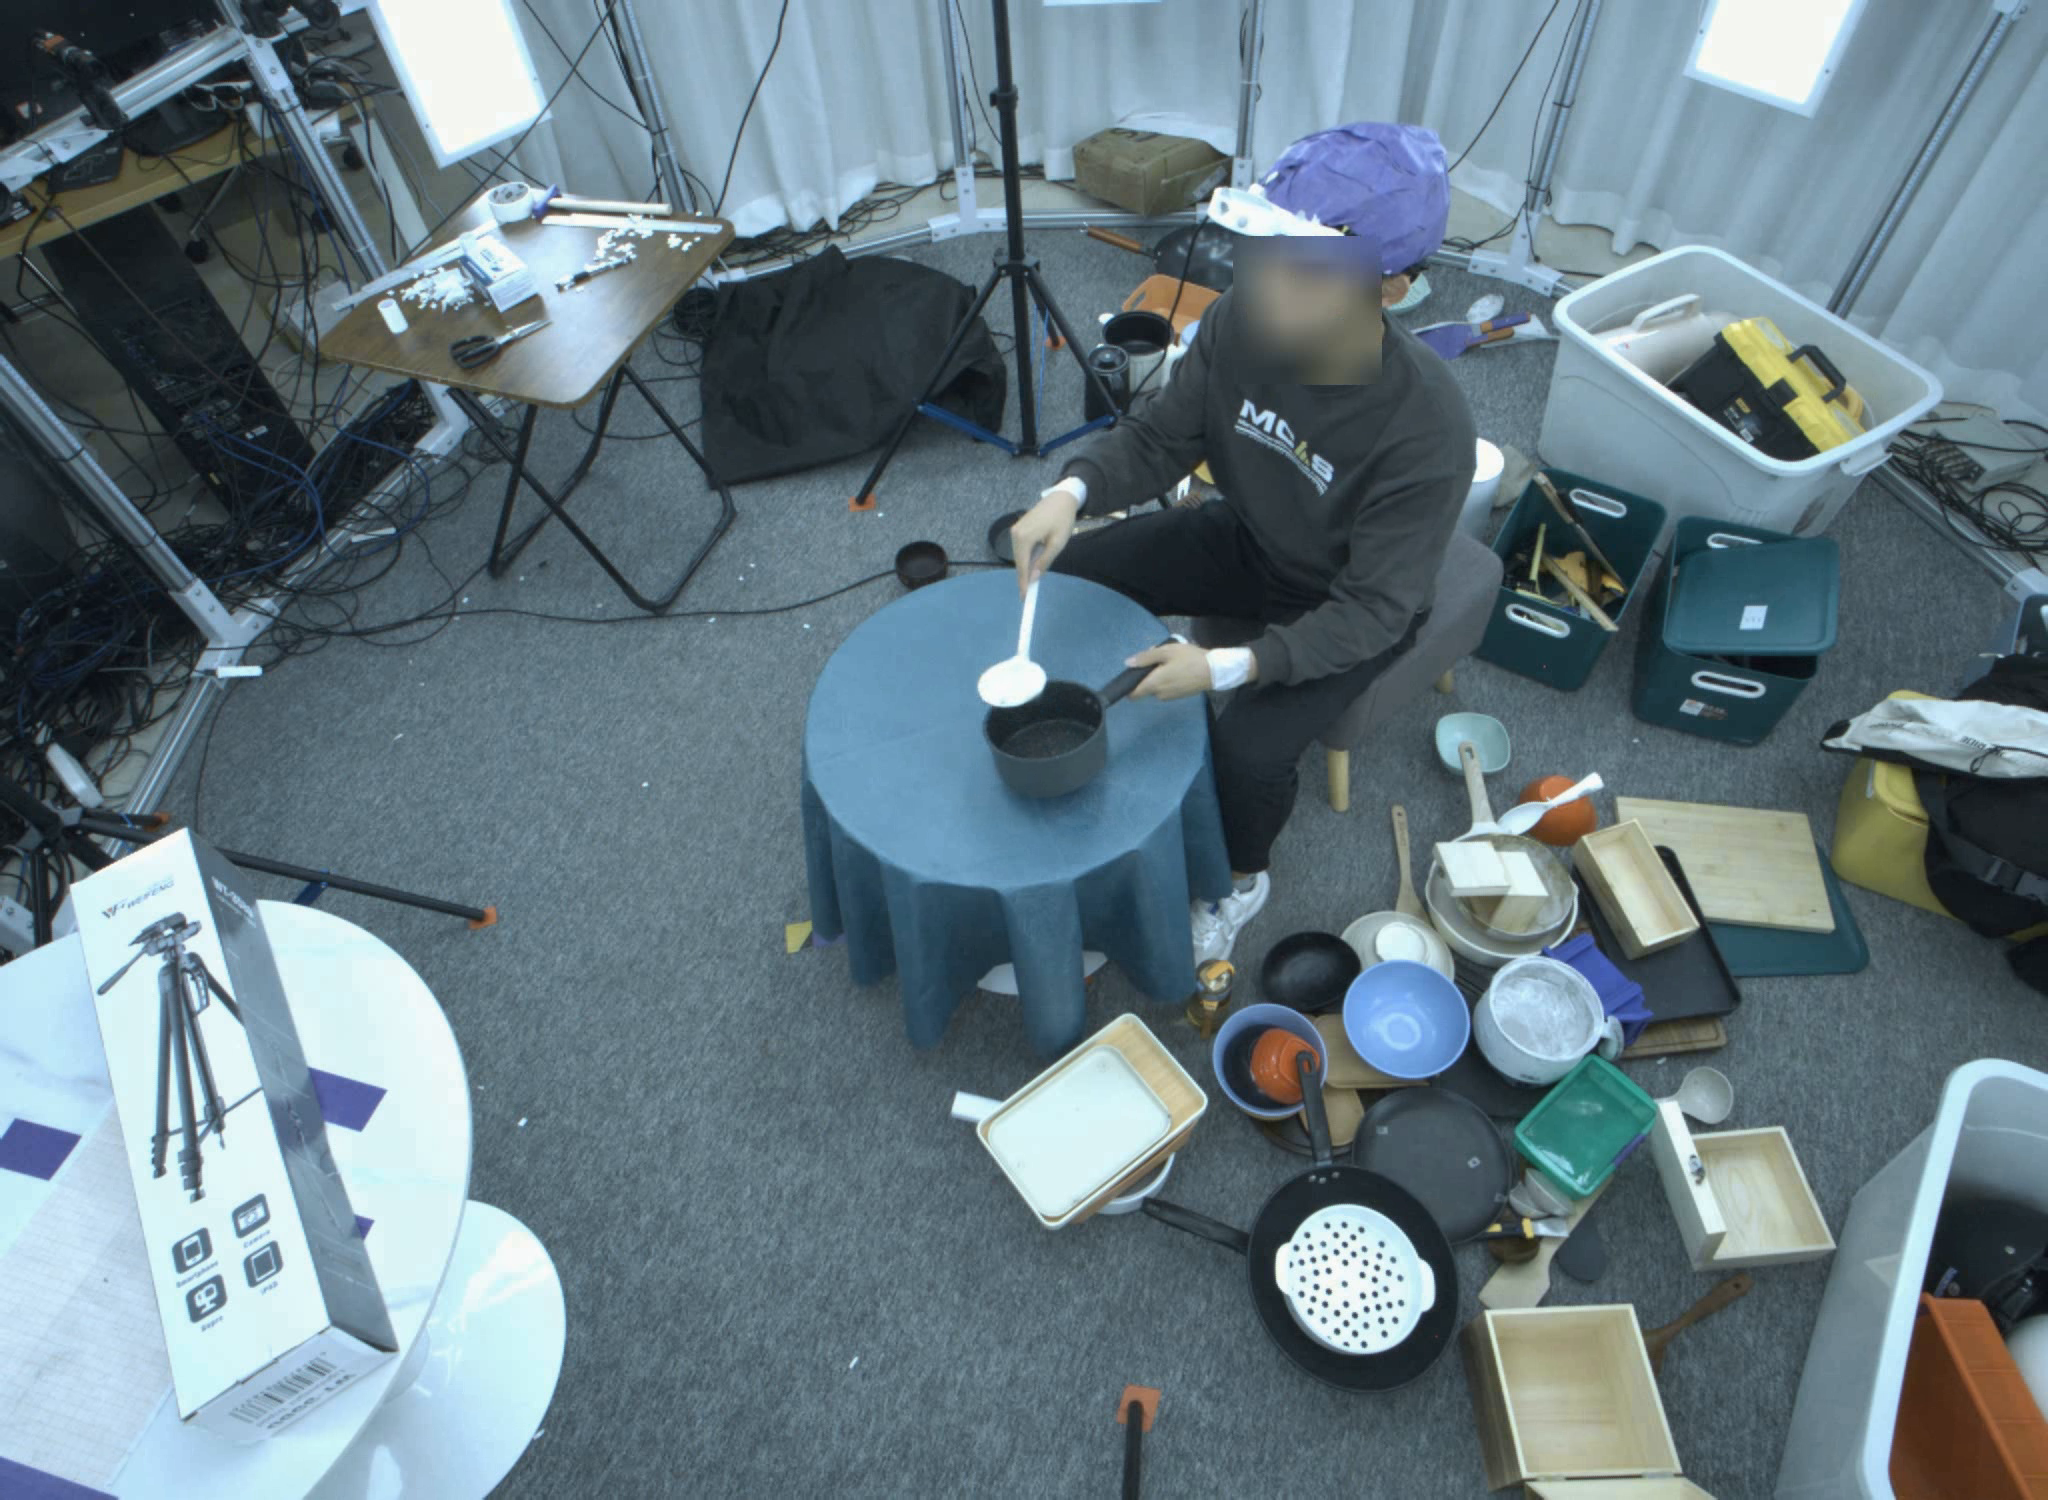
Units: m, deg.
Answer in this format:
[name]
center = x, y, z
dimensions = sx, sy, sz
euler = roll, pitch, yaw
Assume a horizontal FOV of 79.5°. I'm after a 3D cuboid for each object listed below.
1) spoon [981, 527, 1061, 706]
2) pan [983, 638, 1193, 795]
[spoon]
center = 0.012, -0.189, 1.709
dimensions = 0.099, 0.060, 0.277
euler = 12, 83, 14
[pan]
center = 0.100, -0.055, 1.737
dimensions = 0.331, 0.088, 0.168
euler = -28, 46, -17
